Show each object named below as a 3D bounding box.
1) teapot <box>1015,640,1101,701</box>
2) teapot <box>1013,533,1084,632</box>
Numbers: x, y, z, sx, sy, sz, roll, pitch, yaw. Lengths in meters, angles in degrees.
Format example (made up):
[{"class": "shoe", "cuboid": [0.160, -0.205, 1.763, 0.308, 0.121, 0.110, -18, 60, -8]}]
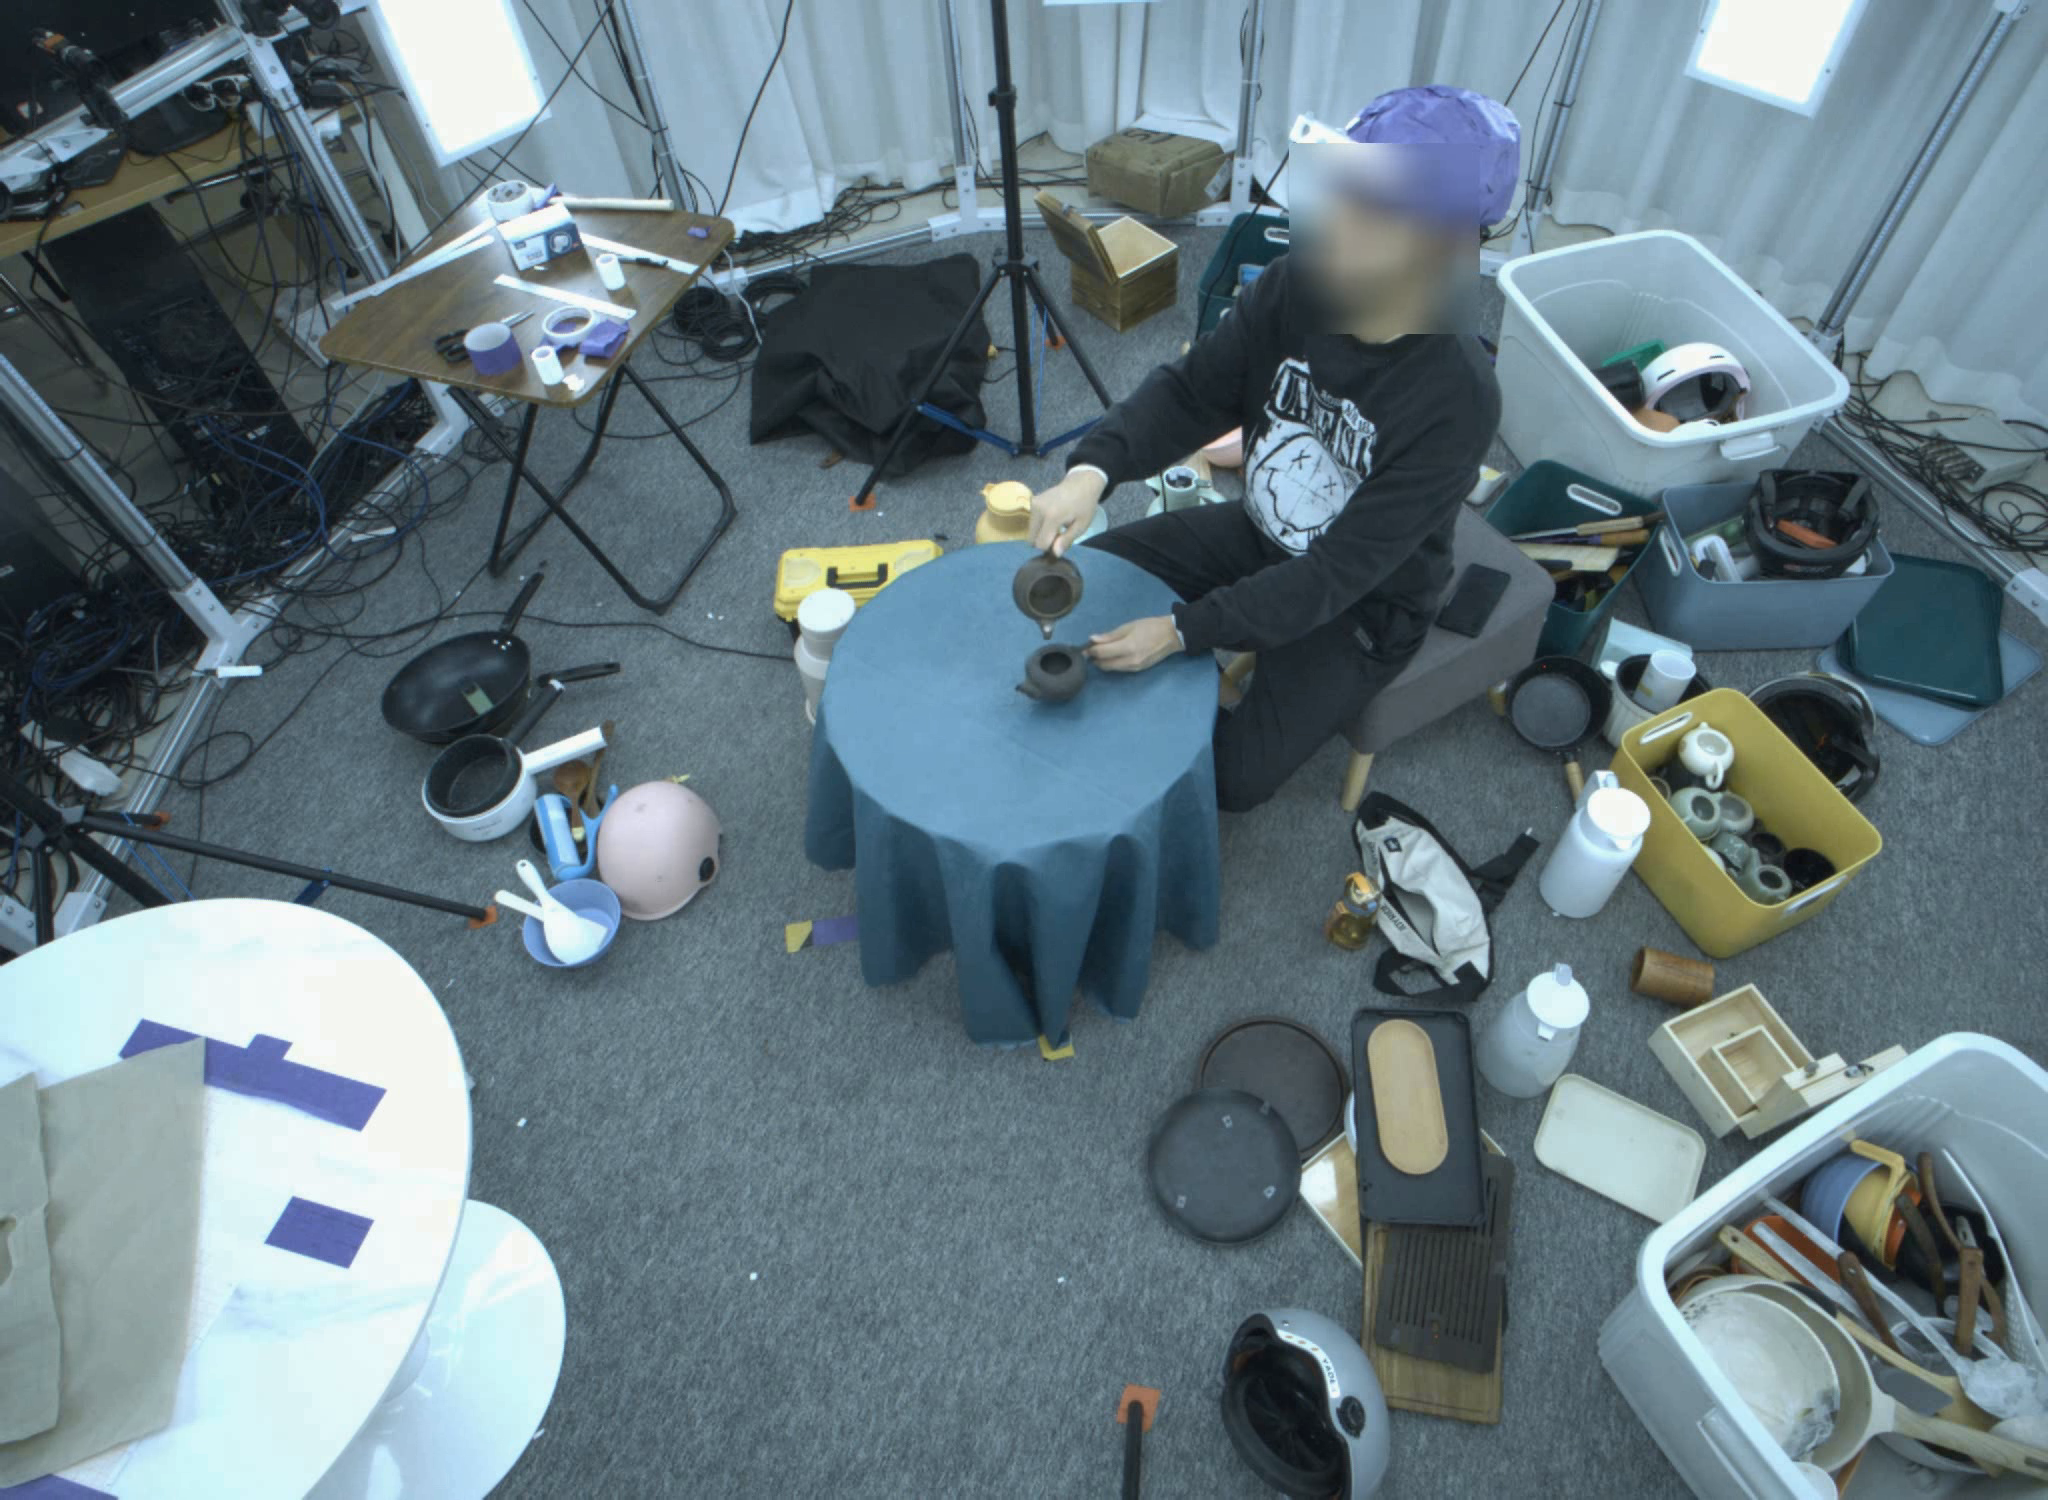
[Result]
[{"class": "teapot", "cuboid": [0.050, -0.116, 1.814, 0.155, 0.065, 0.090, -32, 59, -19]}, {"class": "teapot", "cuboid": [0.035, -0.242, 1.749, 0.103, 0.155, 0.053, -13, 44, -7]}]
